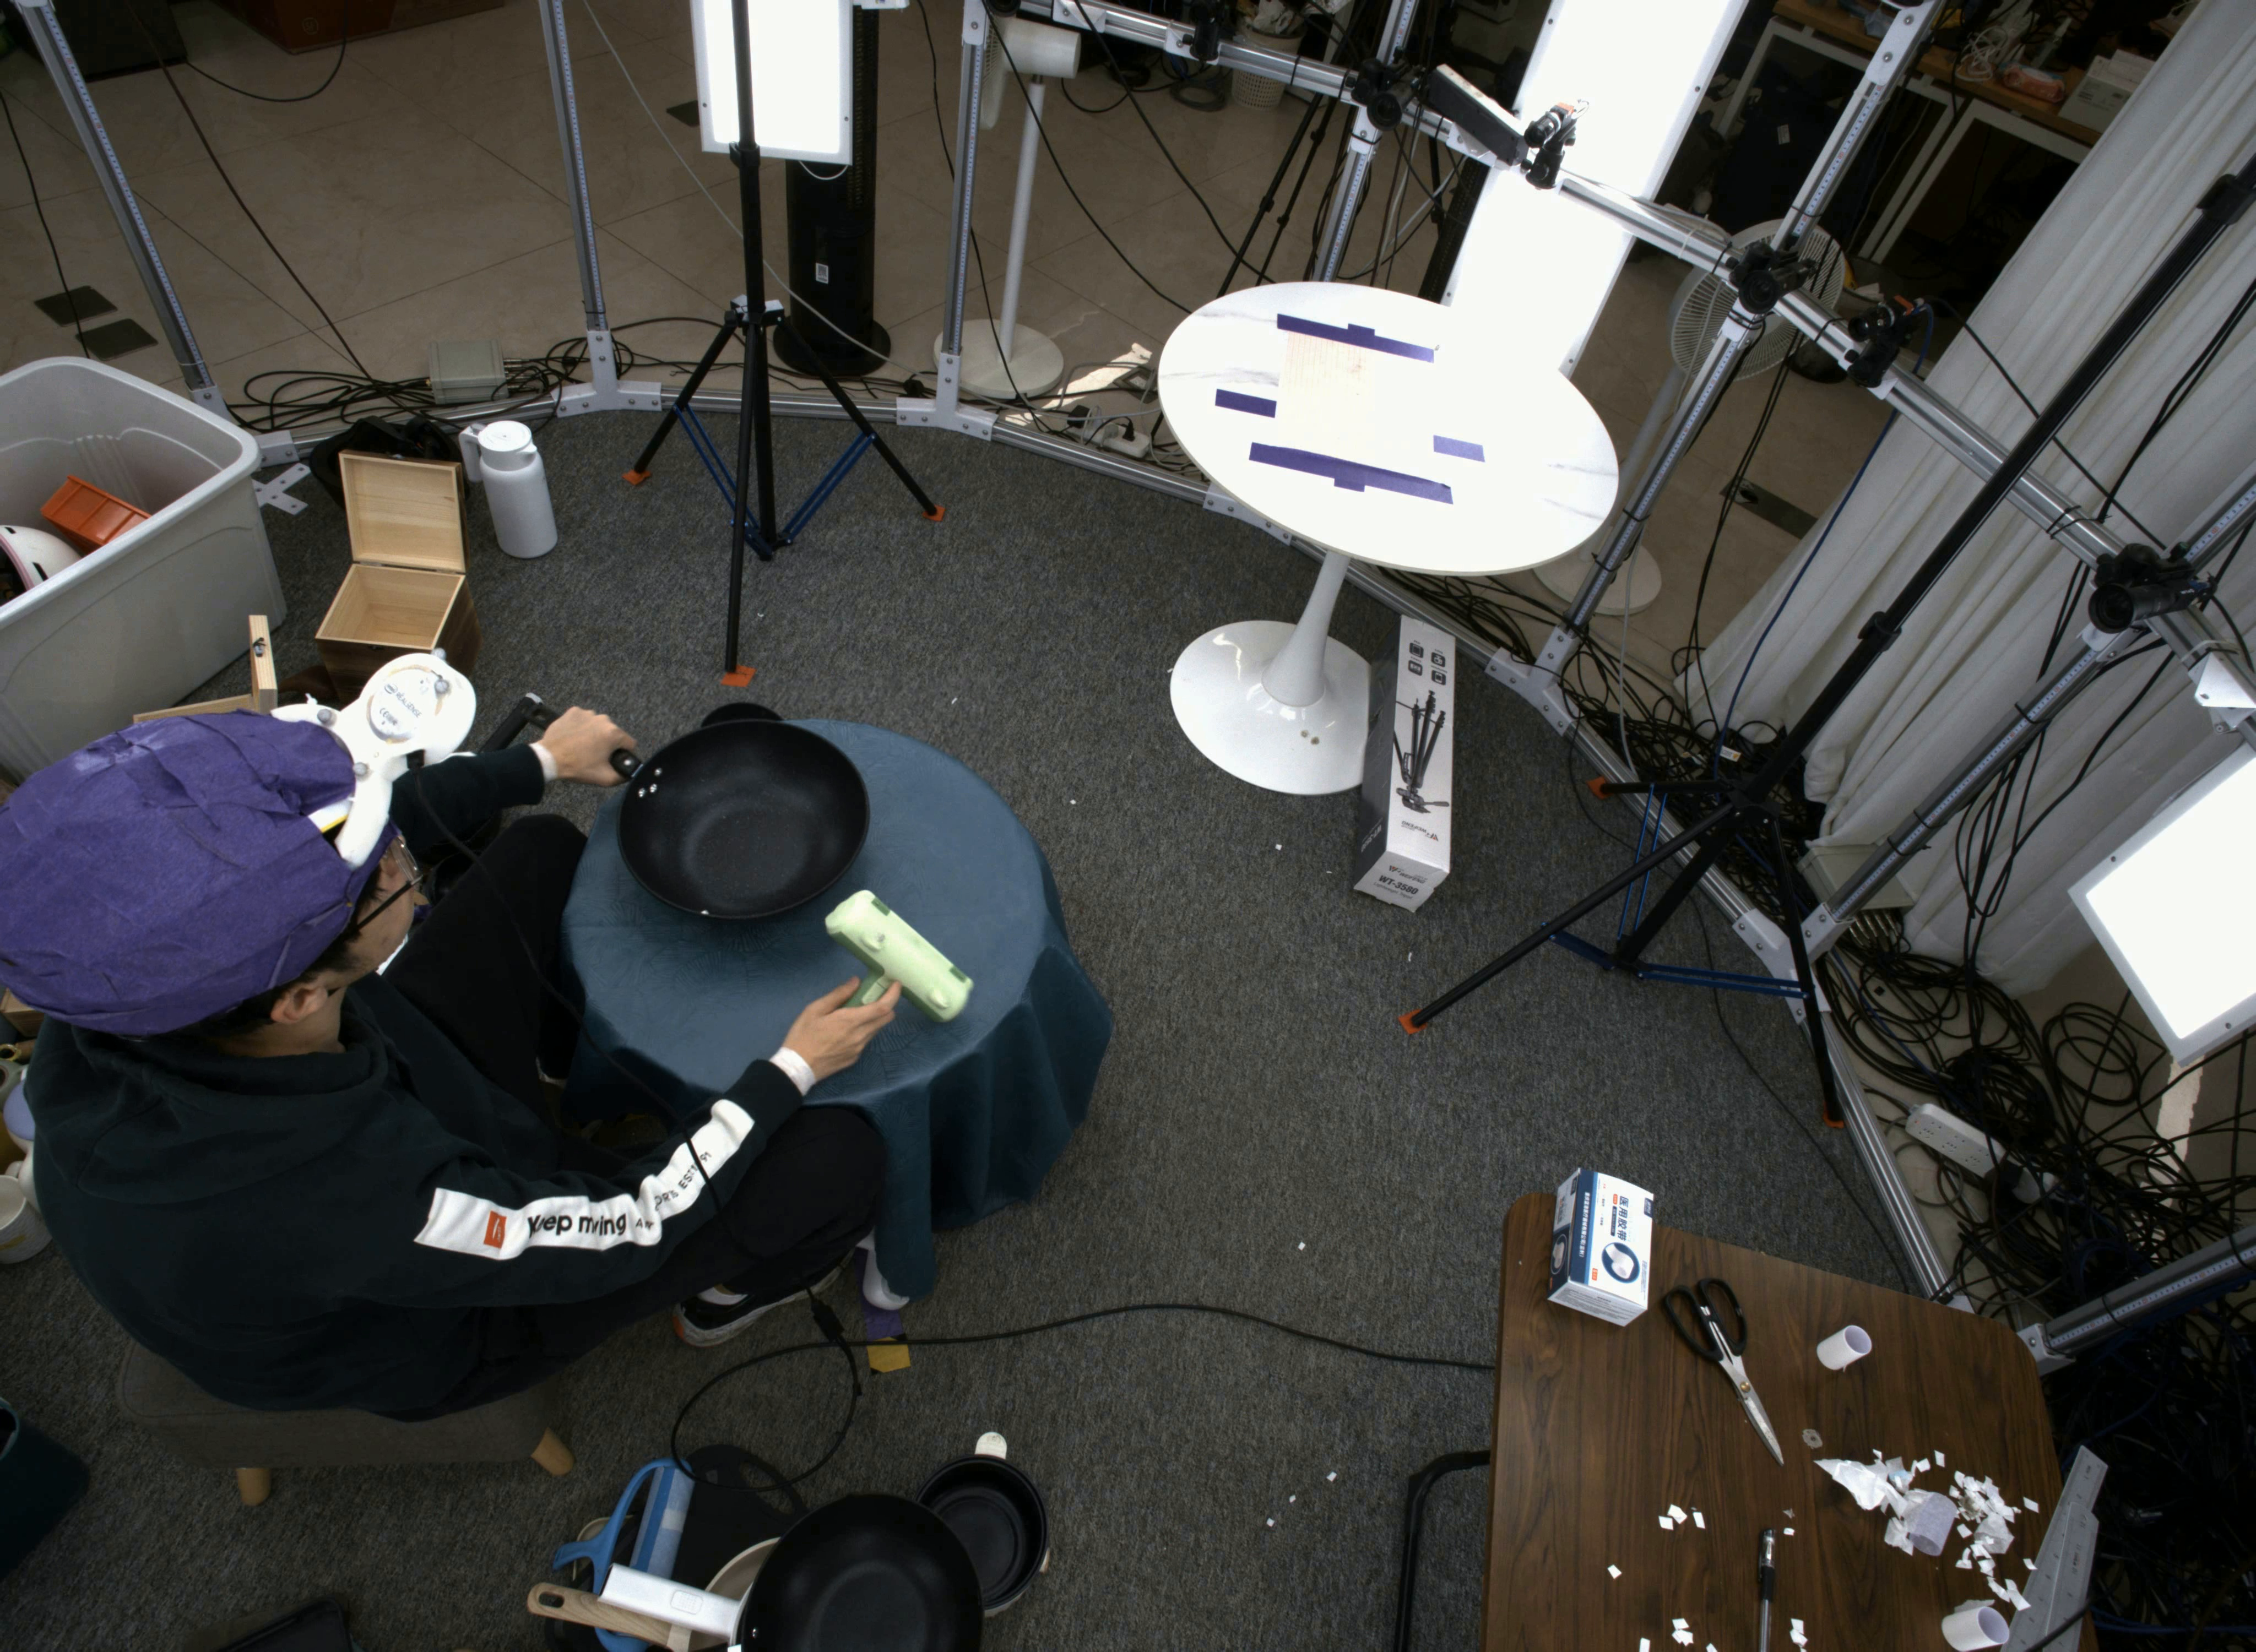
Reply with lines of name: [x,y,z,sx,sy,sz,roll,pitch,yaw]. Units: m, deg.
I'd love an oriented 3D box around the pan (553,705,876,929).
pan: [-0.551,-0.028,1.646,0.471,0.114,0.308,24,53,4]

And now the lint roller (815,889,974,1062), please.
lint roller: [-0.296,0.200,1.518,0.205,0.079,0.183,45,69,-28]
